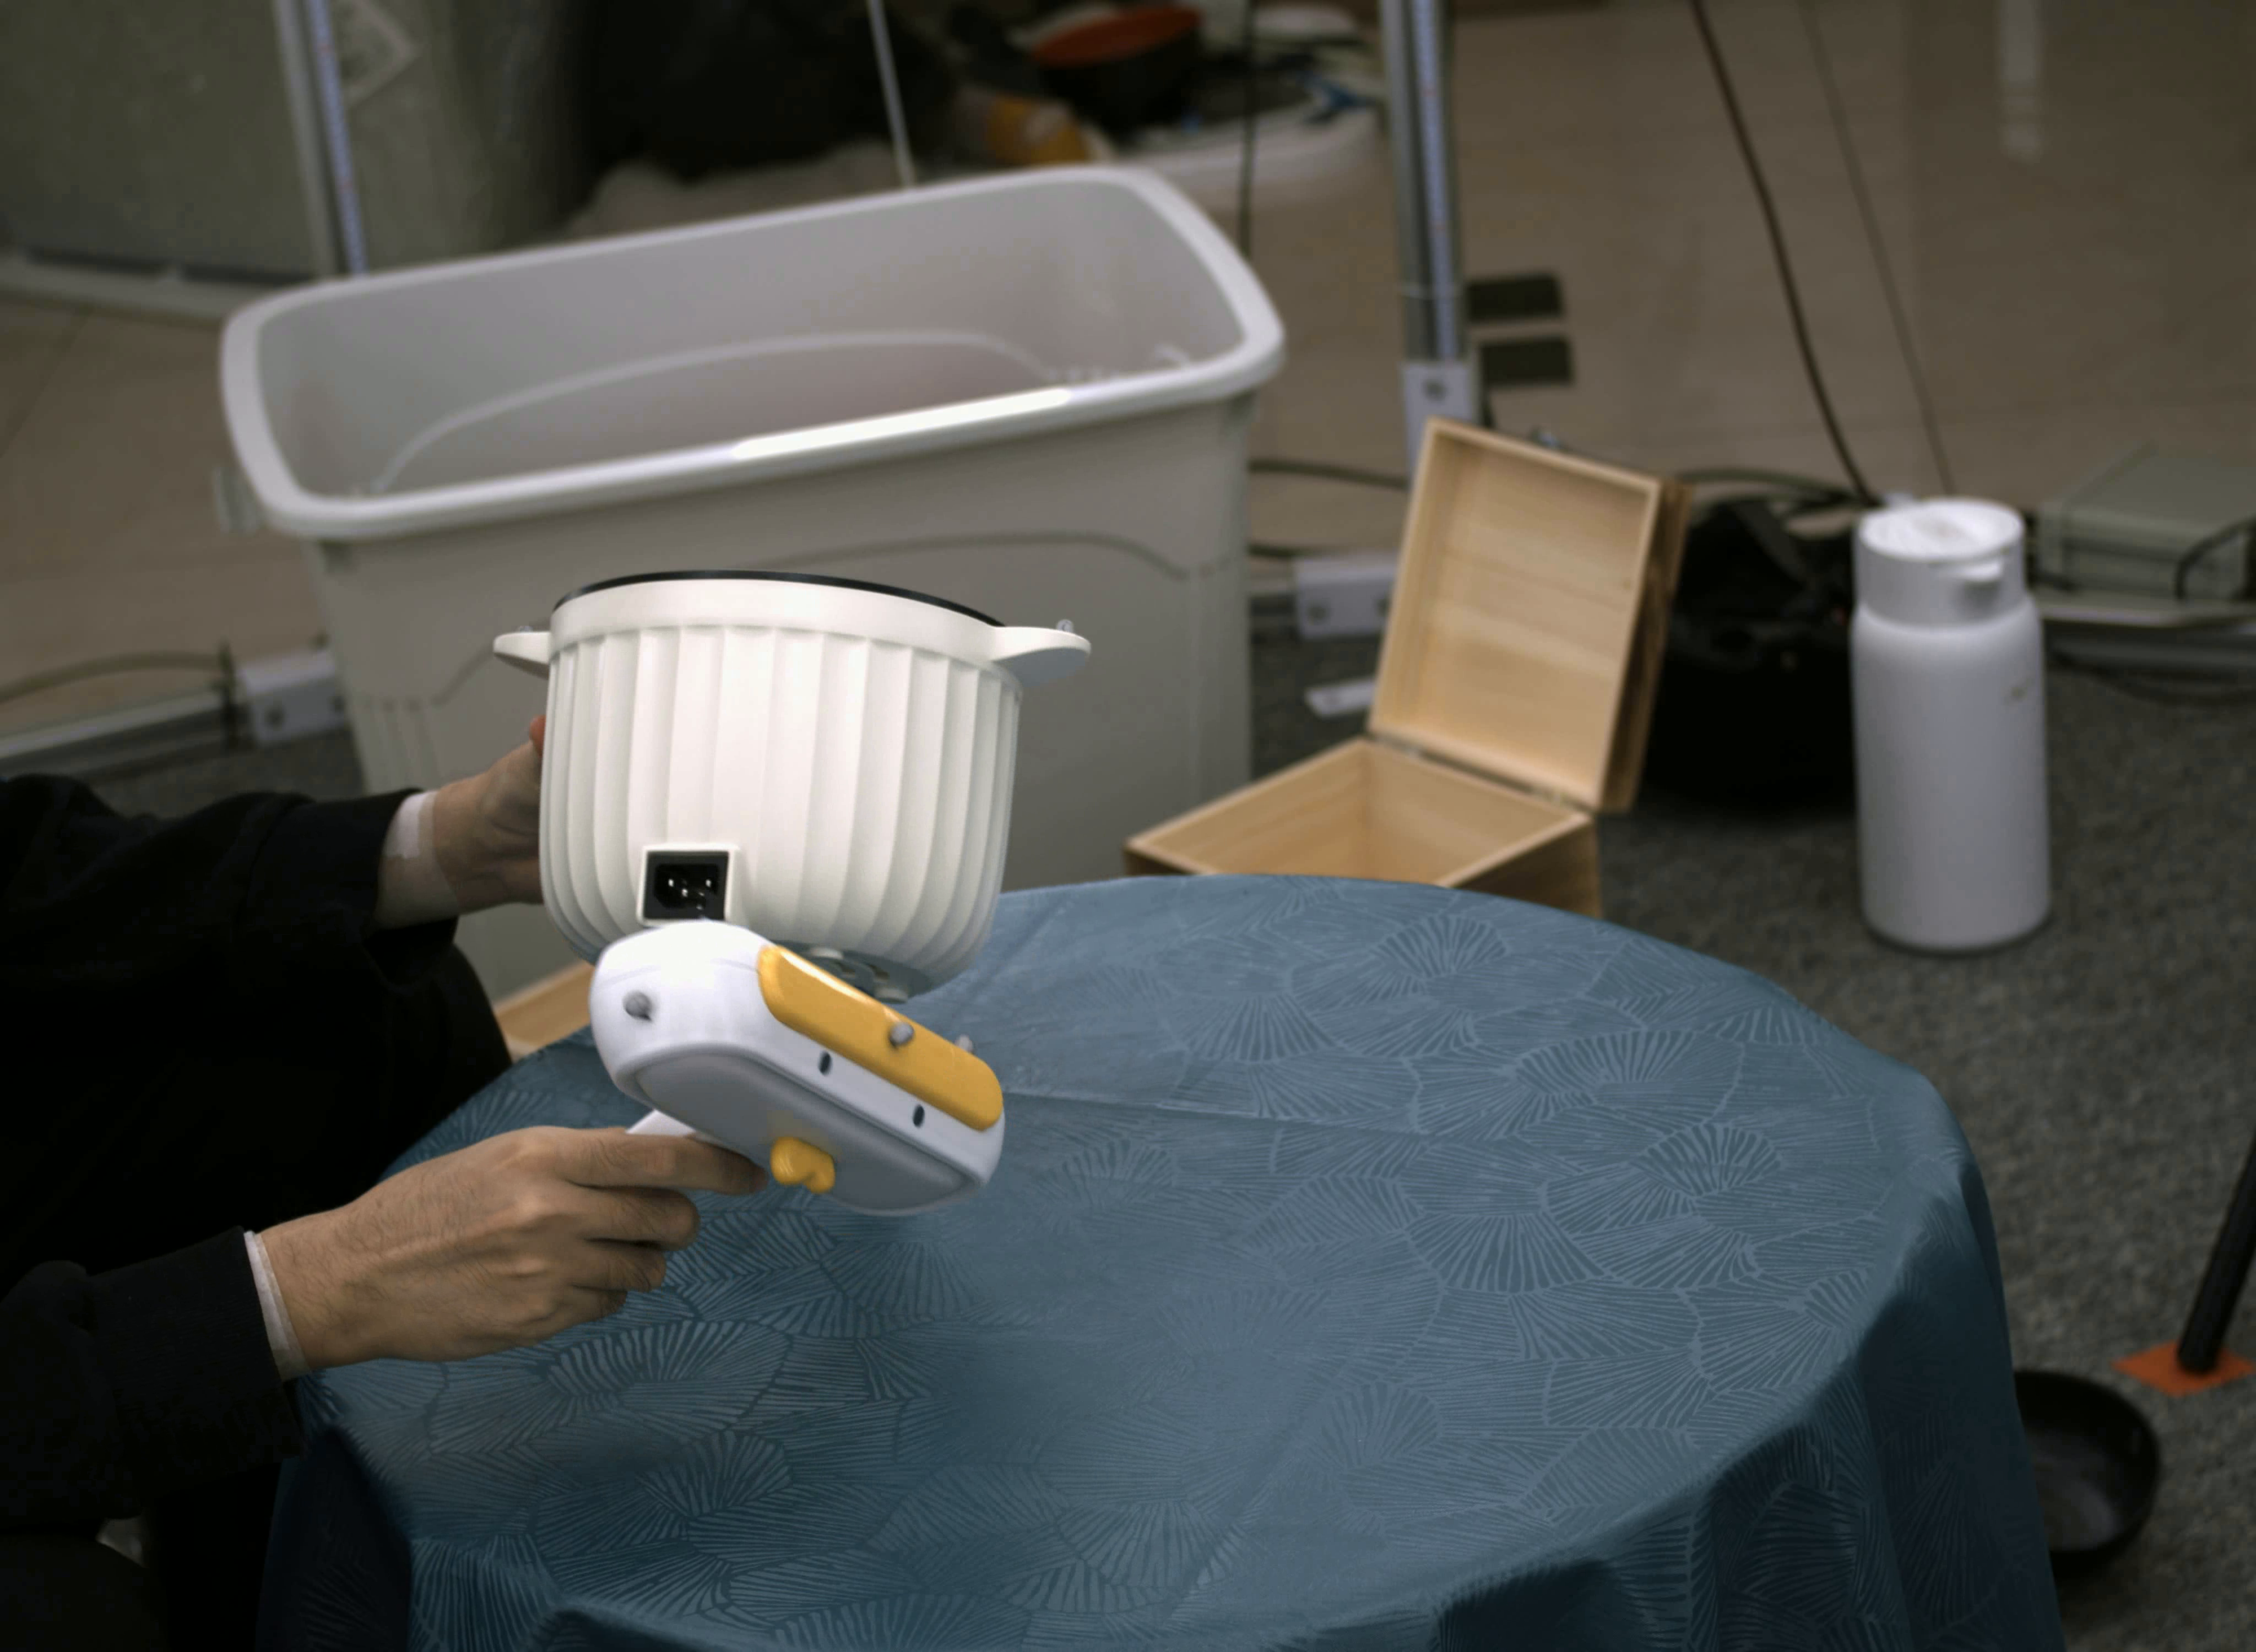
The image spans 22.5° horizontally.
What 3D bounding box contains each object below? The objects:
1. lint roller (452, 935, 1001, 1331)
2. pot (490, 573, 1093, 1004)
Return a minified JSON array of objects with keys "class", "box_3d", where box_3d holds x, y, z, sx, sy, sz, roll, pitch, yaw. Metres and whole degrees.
[{"class":"lint roller","box_3d":[-0.161,0.115,1.978,0.193,0.073,0.194,-26,-27,26]},{"class":"pot","box_3d":[-0.133,-0.008,2.151,0.240,0.142,0.191,1,-9,16]}]
